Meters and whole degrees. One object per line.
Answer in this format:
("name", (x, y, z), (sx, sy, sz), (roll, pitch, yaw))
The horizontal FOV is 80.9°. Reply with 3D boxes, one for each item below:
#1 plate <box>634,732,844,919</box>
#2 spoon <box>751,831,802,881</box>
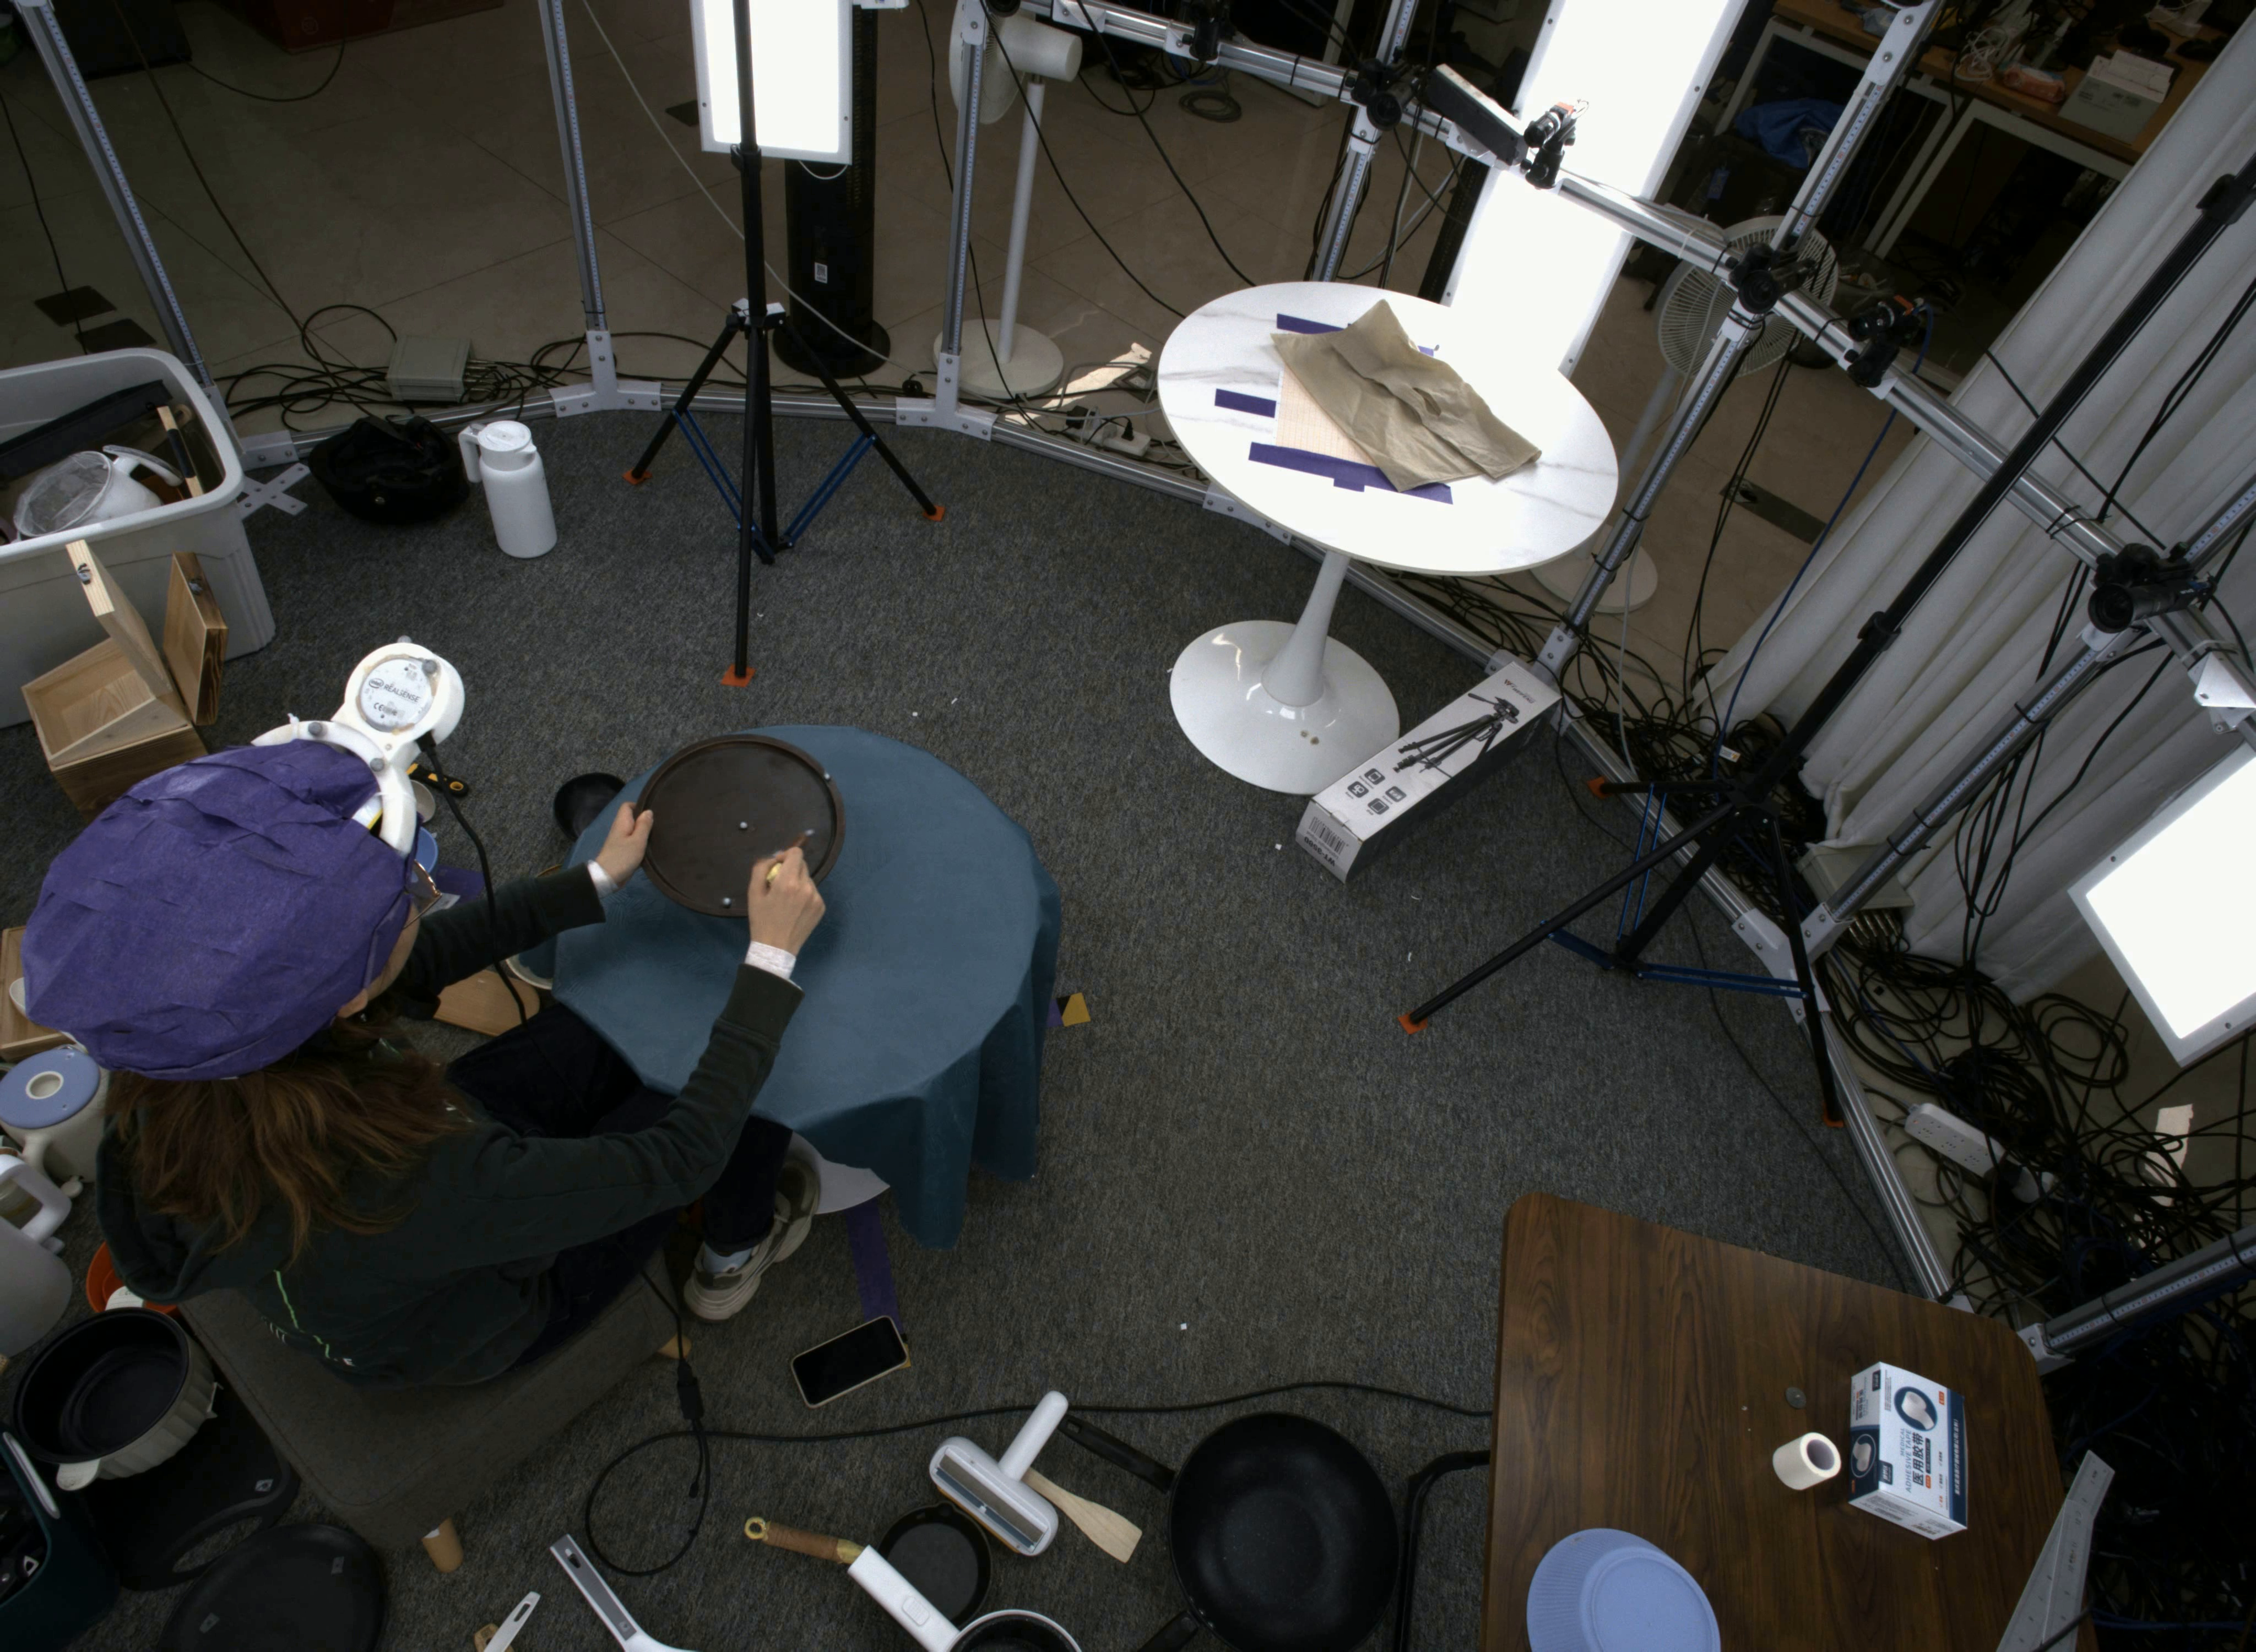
("plate", (-0.472, -0.003, 1.572), (0.254, 0.029, 0.251), (7, 60, -10))
("spoon", (-0.392, 0.038, 1.438), (0.075, 0.212, 0.017), (-44, 100, -6))
